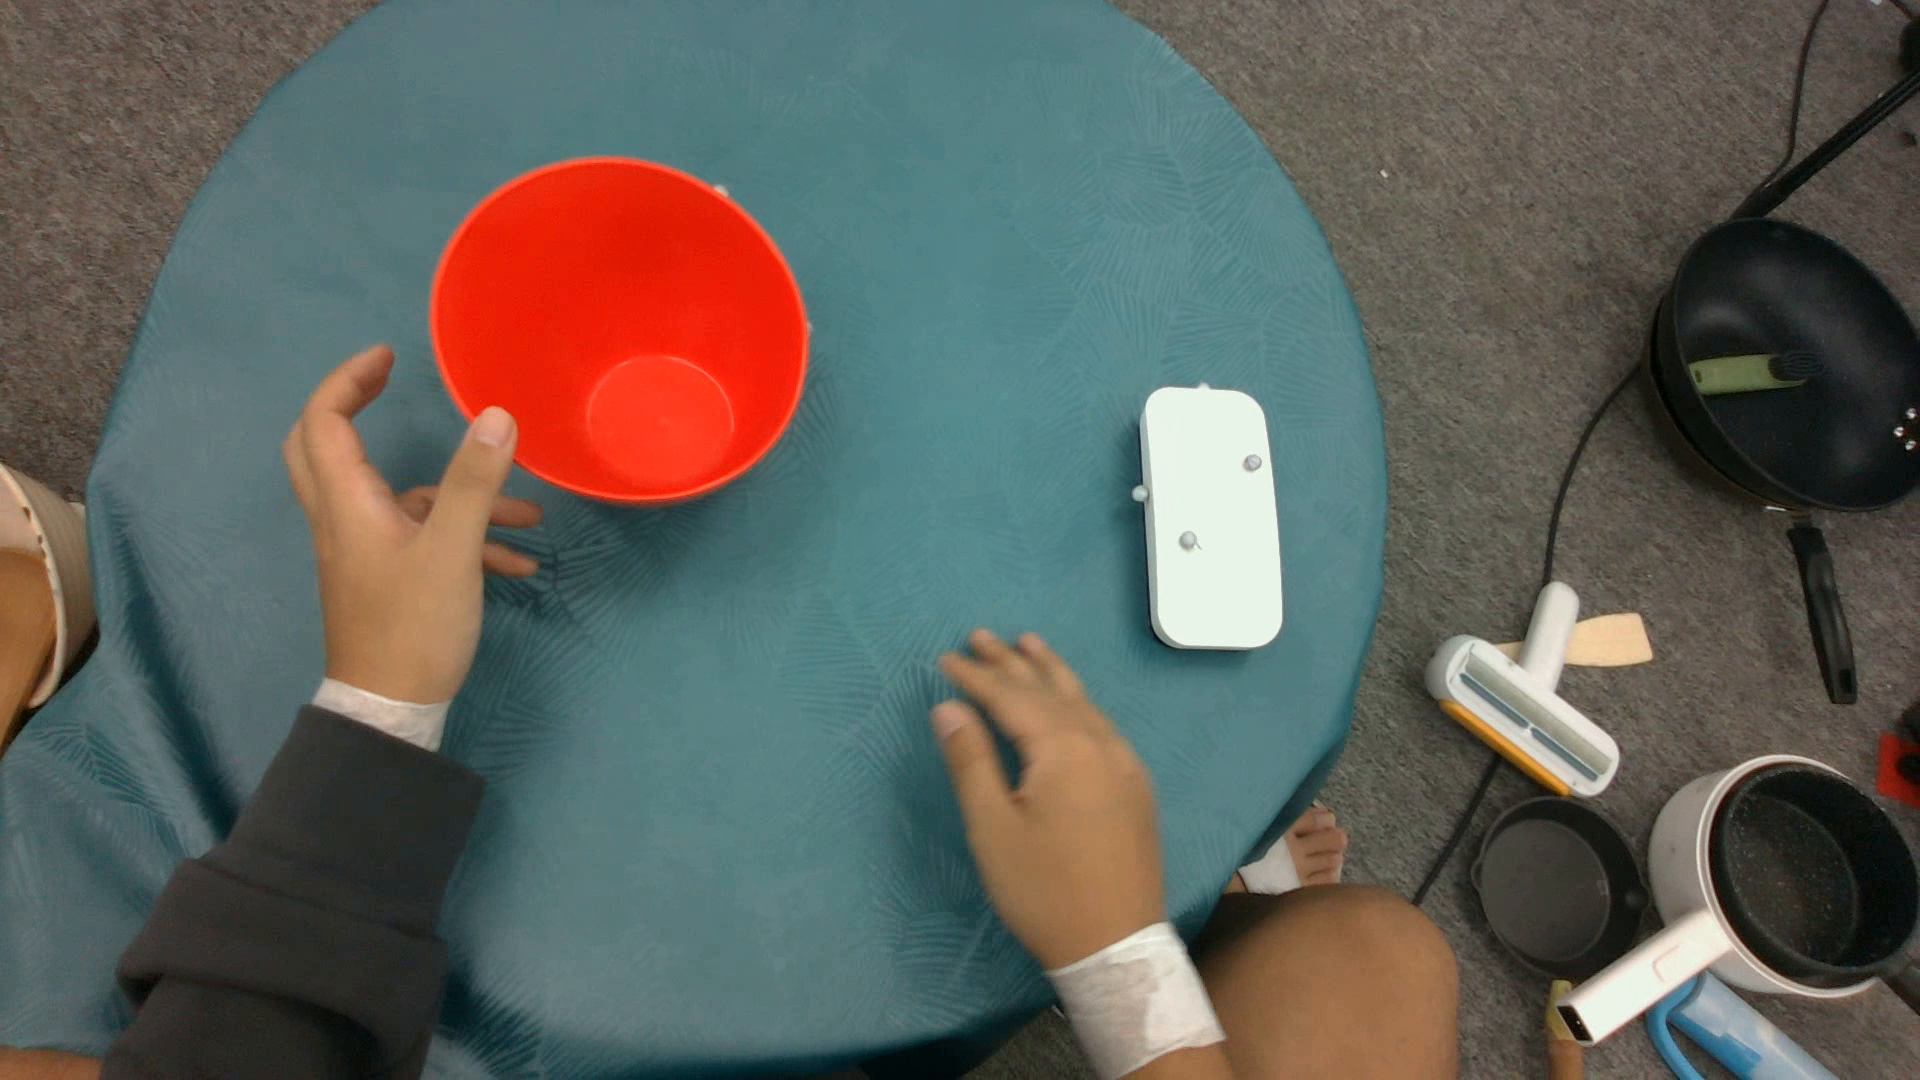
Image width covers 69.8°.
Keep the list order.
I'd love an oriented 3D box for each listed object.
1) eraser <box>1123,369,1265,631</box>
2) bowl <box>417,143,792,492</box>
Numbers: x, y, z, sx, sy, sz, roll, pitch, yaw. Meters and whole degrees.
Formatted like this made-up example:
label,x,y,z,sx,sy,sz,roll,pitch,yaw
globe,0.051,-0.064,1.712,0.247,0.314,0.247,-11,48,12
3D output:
label,x,y,z,sx,sy,sz,roll,pitch,yaw
eraser,0.110,-0.020,0.665,0.063,0.034,0.131,3,70,-9
bowl,-0.149,-0.082,0.599,0.148,0.104,0.148,4,72,-11
